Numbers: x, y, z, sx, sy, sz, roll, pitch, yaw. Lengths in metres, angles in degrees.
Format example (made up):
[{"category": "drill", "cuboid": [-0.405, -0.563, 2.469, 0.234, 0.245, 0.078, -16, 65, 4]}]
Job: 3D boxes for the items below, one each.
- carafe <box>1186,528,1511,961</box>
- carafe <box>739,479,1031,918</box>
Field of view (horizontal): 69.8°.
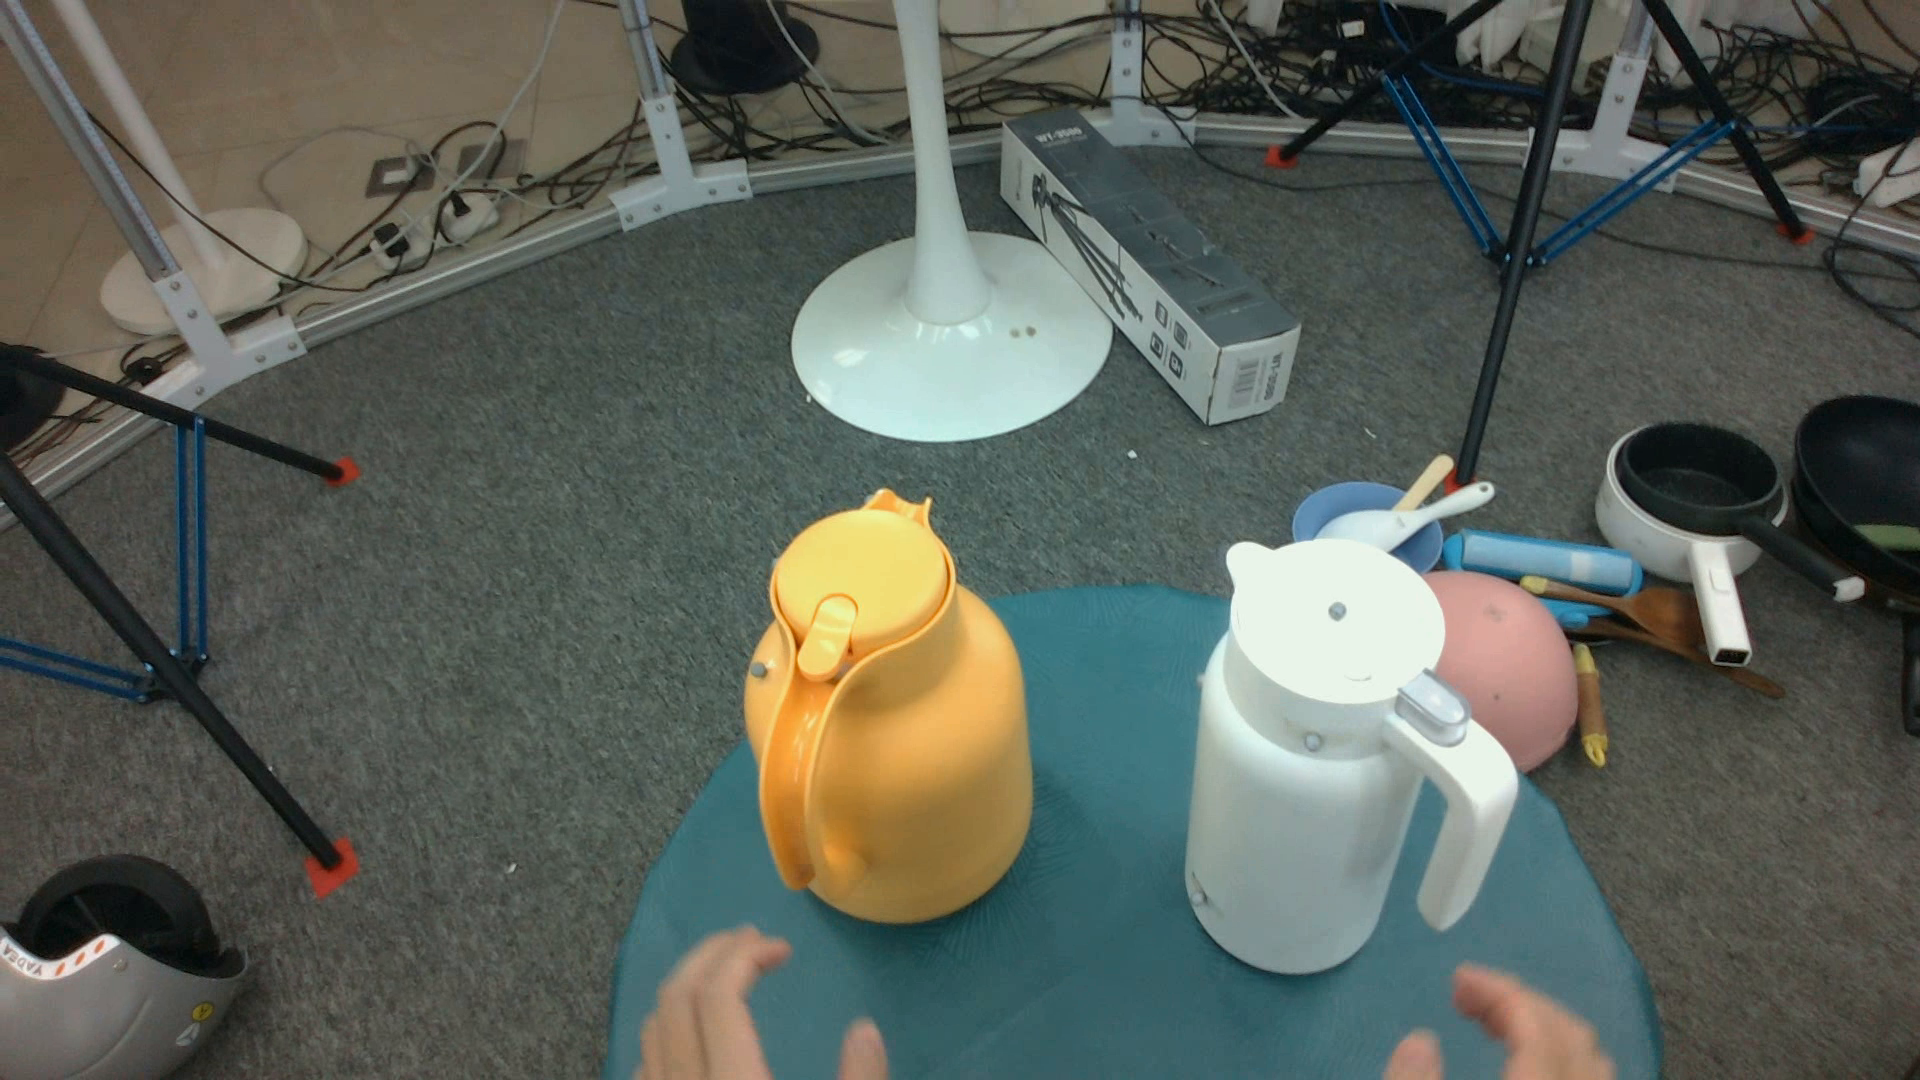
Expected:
[{"category": "carafe", "cuboid": [0.198, 0.128, 0.740, 0.124, 0.267, 0.173, -31, 52, -23]}, {"category": "carafe", "cuboid": [-0.053, 0.106, 0.782, 0.163, 0.259, 0.203, 12, 48, 19]}]
